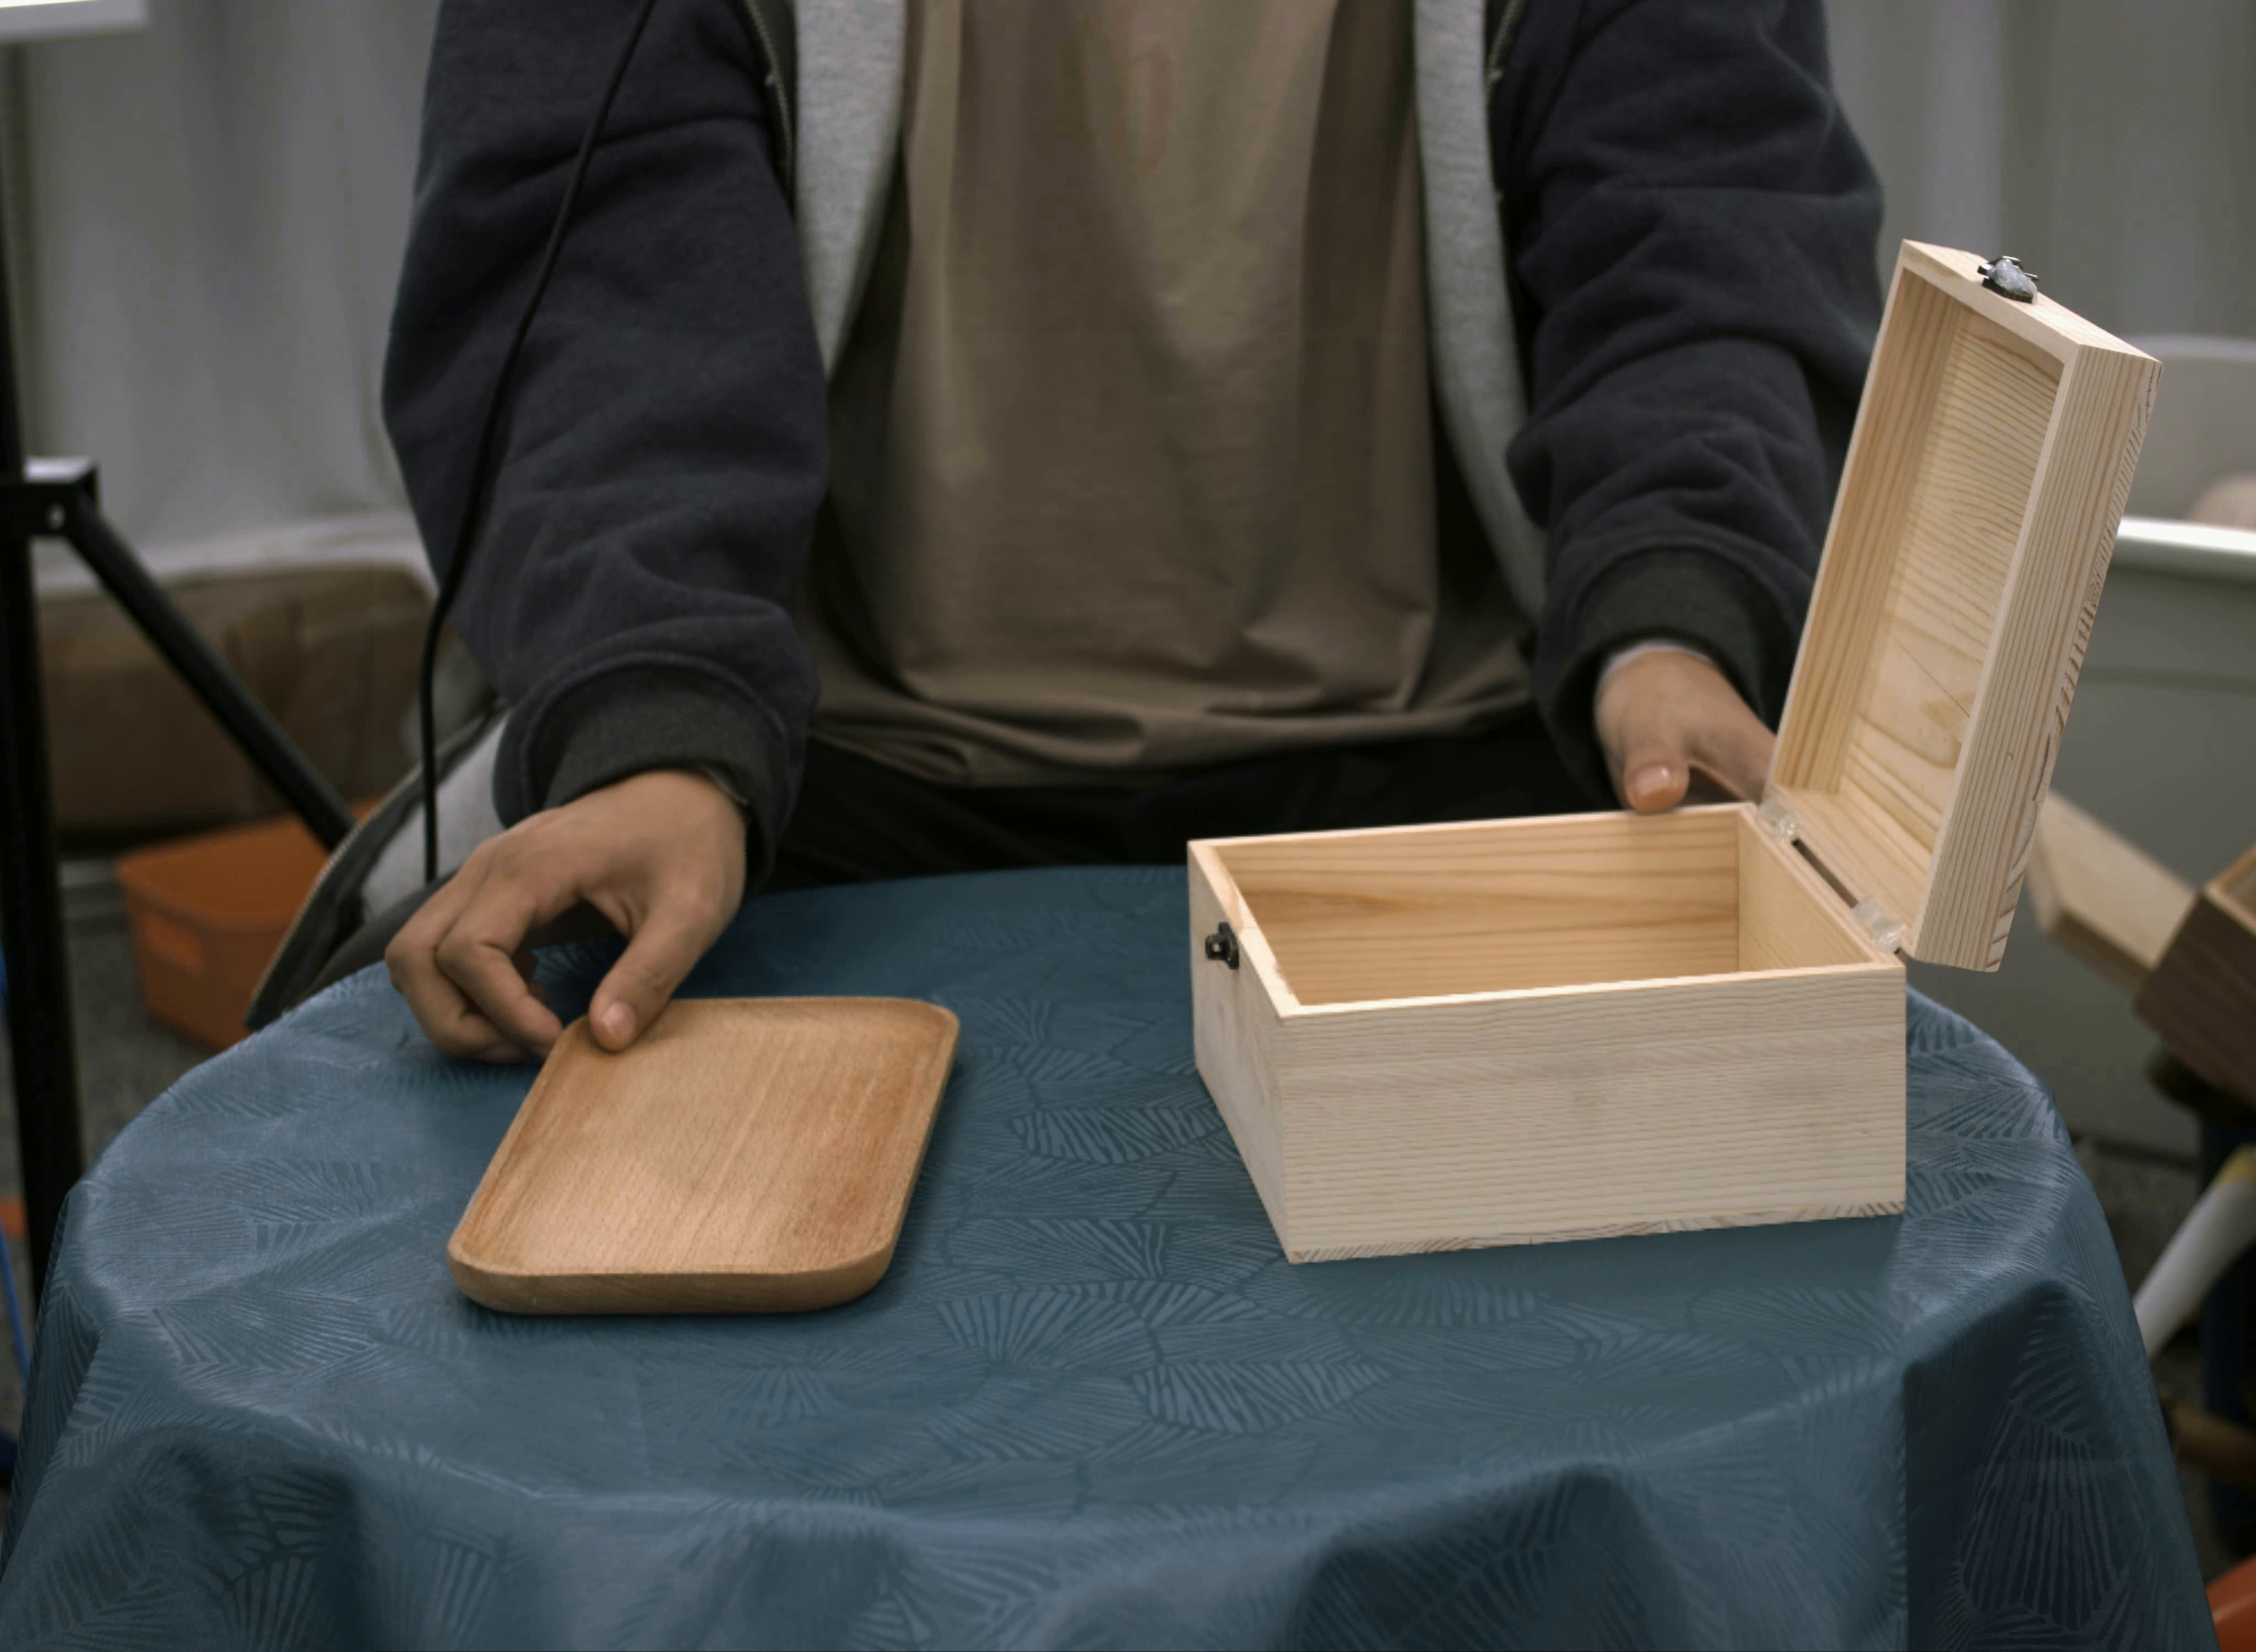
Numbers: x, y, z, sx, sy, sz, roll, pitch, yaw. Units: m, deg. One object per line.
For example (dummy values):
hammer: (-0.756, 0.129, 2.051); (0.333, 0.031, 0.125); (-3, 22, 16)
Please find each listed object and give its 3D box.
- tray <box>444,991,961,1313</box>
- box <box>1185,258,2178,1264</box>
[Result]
tray: (-0.123, 0.095, 1.594); (0.130, 0.023, 0.250); (2, 16, 5)
box: (0.153, -0.026, 1.562); (0.262, 0.253, 0.183); (-3, 12, -6)
